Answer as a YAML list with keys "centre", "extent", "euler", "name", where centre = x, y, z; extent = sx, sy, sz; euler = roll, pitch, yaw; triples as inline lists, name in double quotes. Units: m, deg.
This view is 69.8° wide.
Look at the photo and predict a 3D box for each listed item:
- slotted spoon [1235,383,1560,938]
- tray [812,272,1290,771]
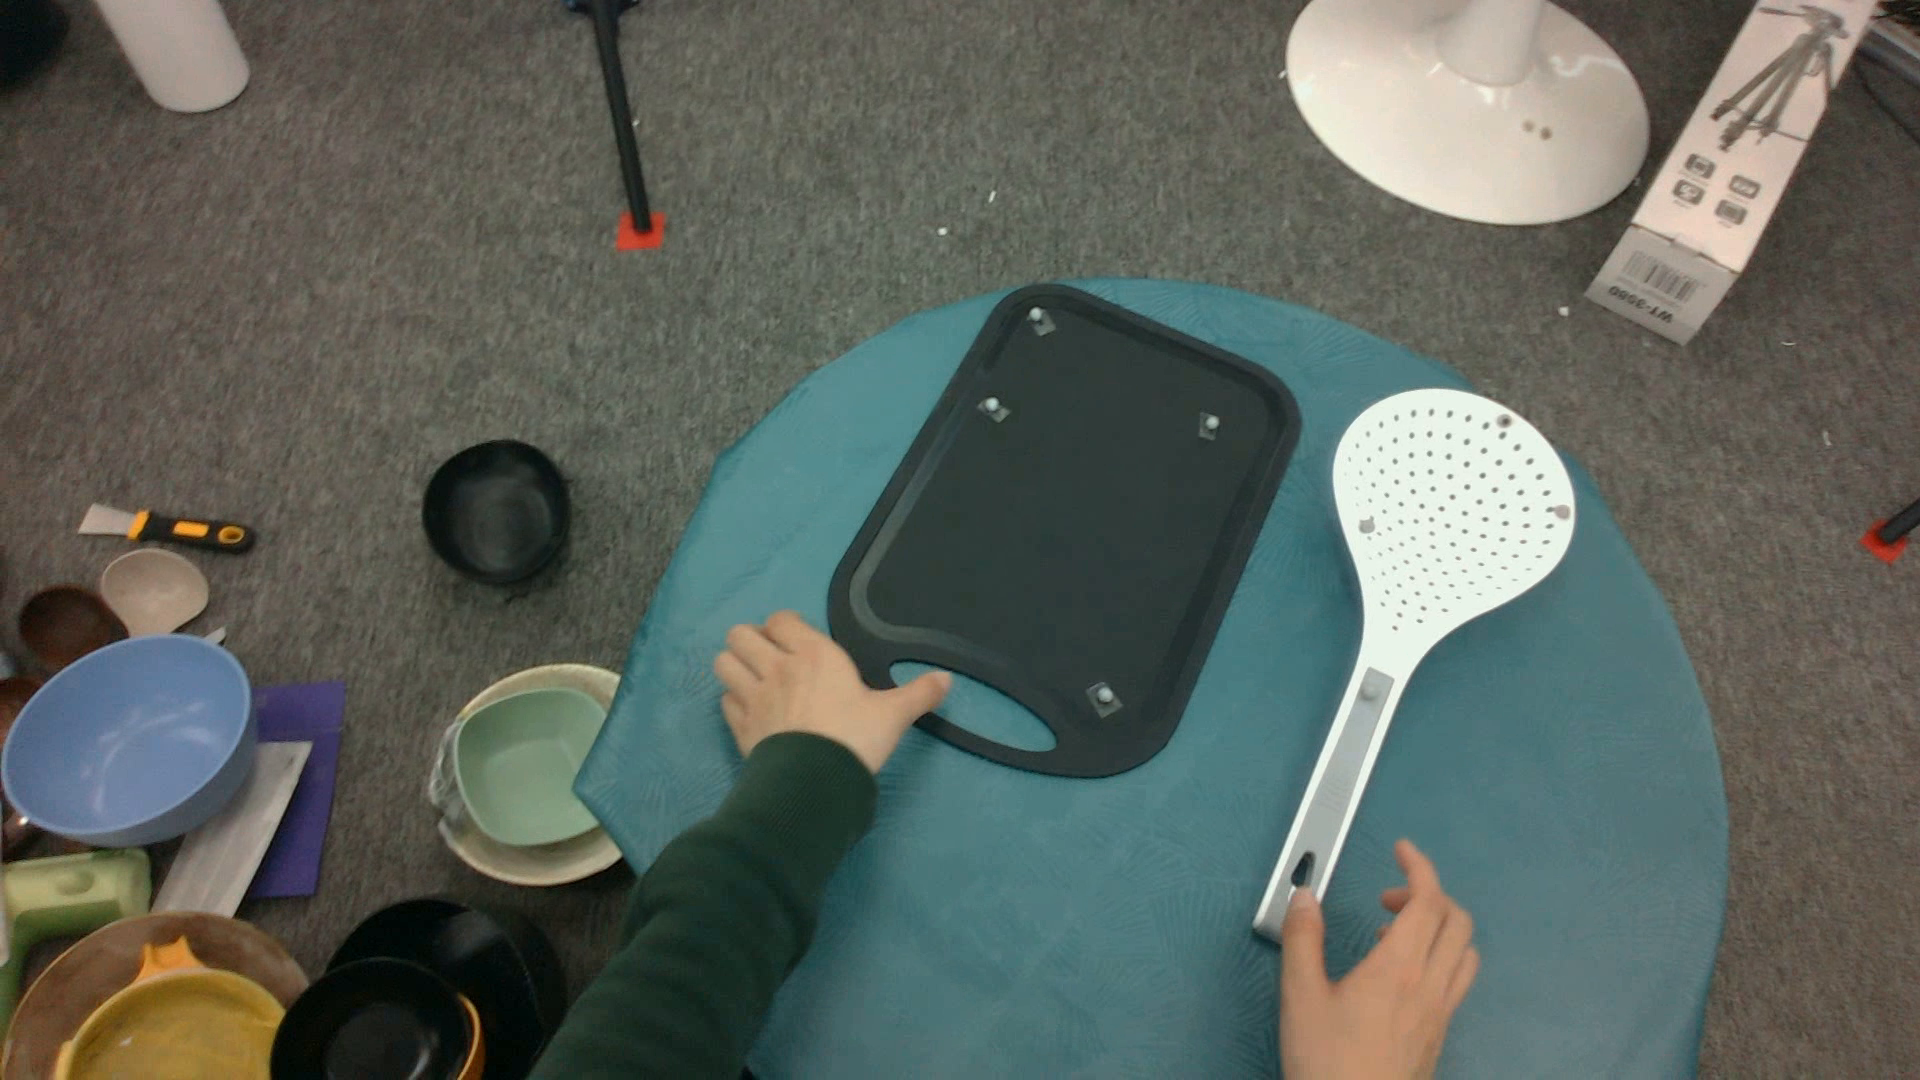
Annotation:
- centre: [0.230, 0.056, 0.761]
  extent: [0.136, 0.045, 0.351]
  euler: [25, 61, 10]
  name: "slotted spoon"
- centre: [0.058, -0.021, 0.808]
  extent: [0.211, 0.010, 0.327]
  euler: [25, 61, 8]
  name: "tray"
